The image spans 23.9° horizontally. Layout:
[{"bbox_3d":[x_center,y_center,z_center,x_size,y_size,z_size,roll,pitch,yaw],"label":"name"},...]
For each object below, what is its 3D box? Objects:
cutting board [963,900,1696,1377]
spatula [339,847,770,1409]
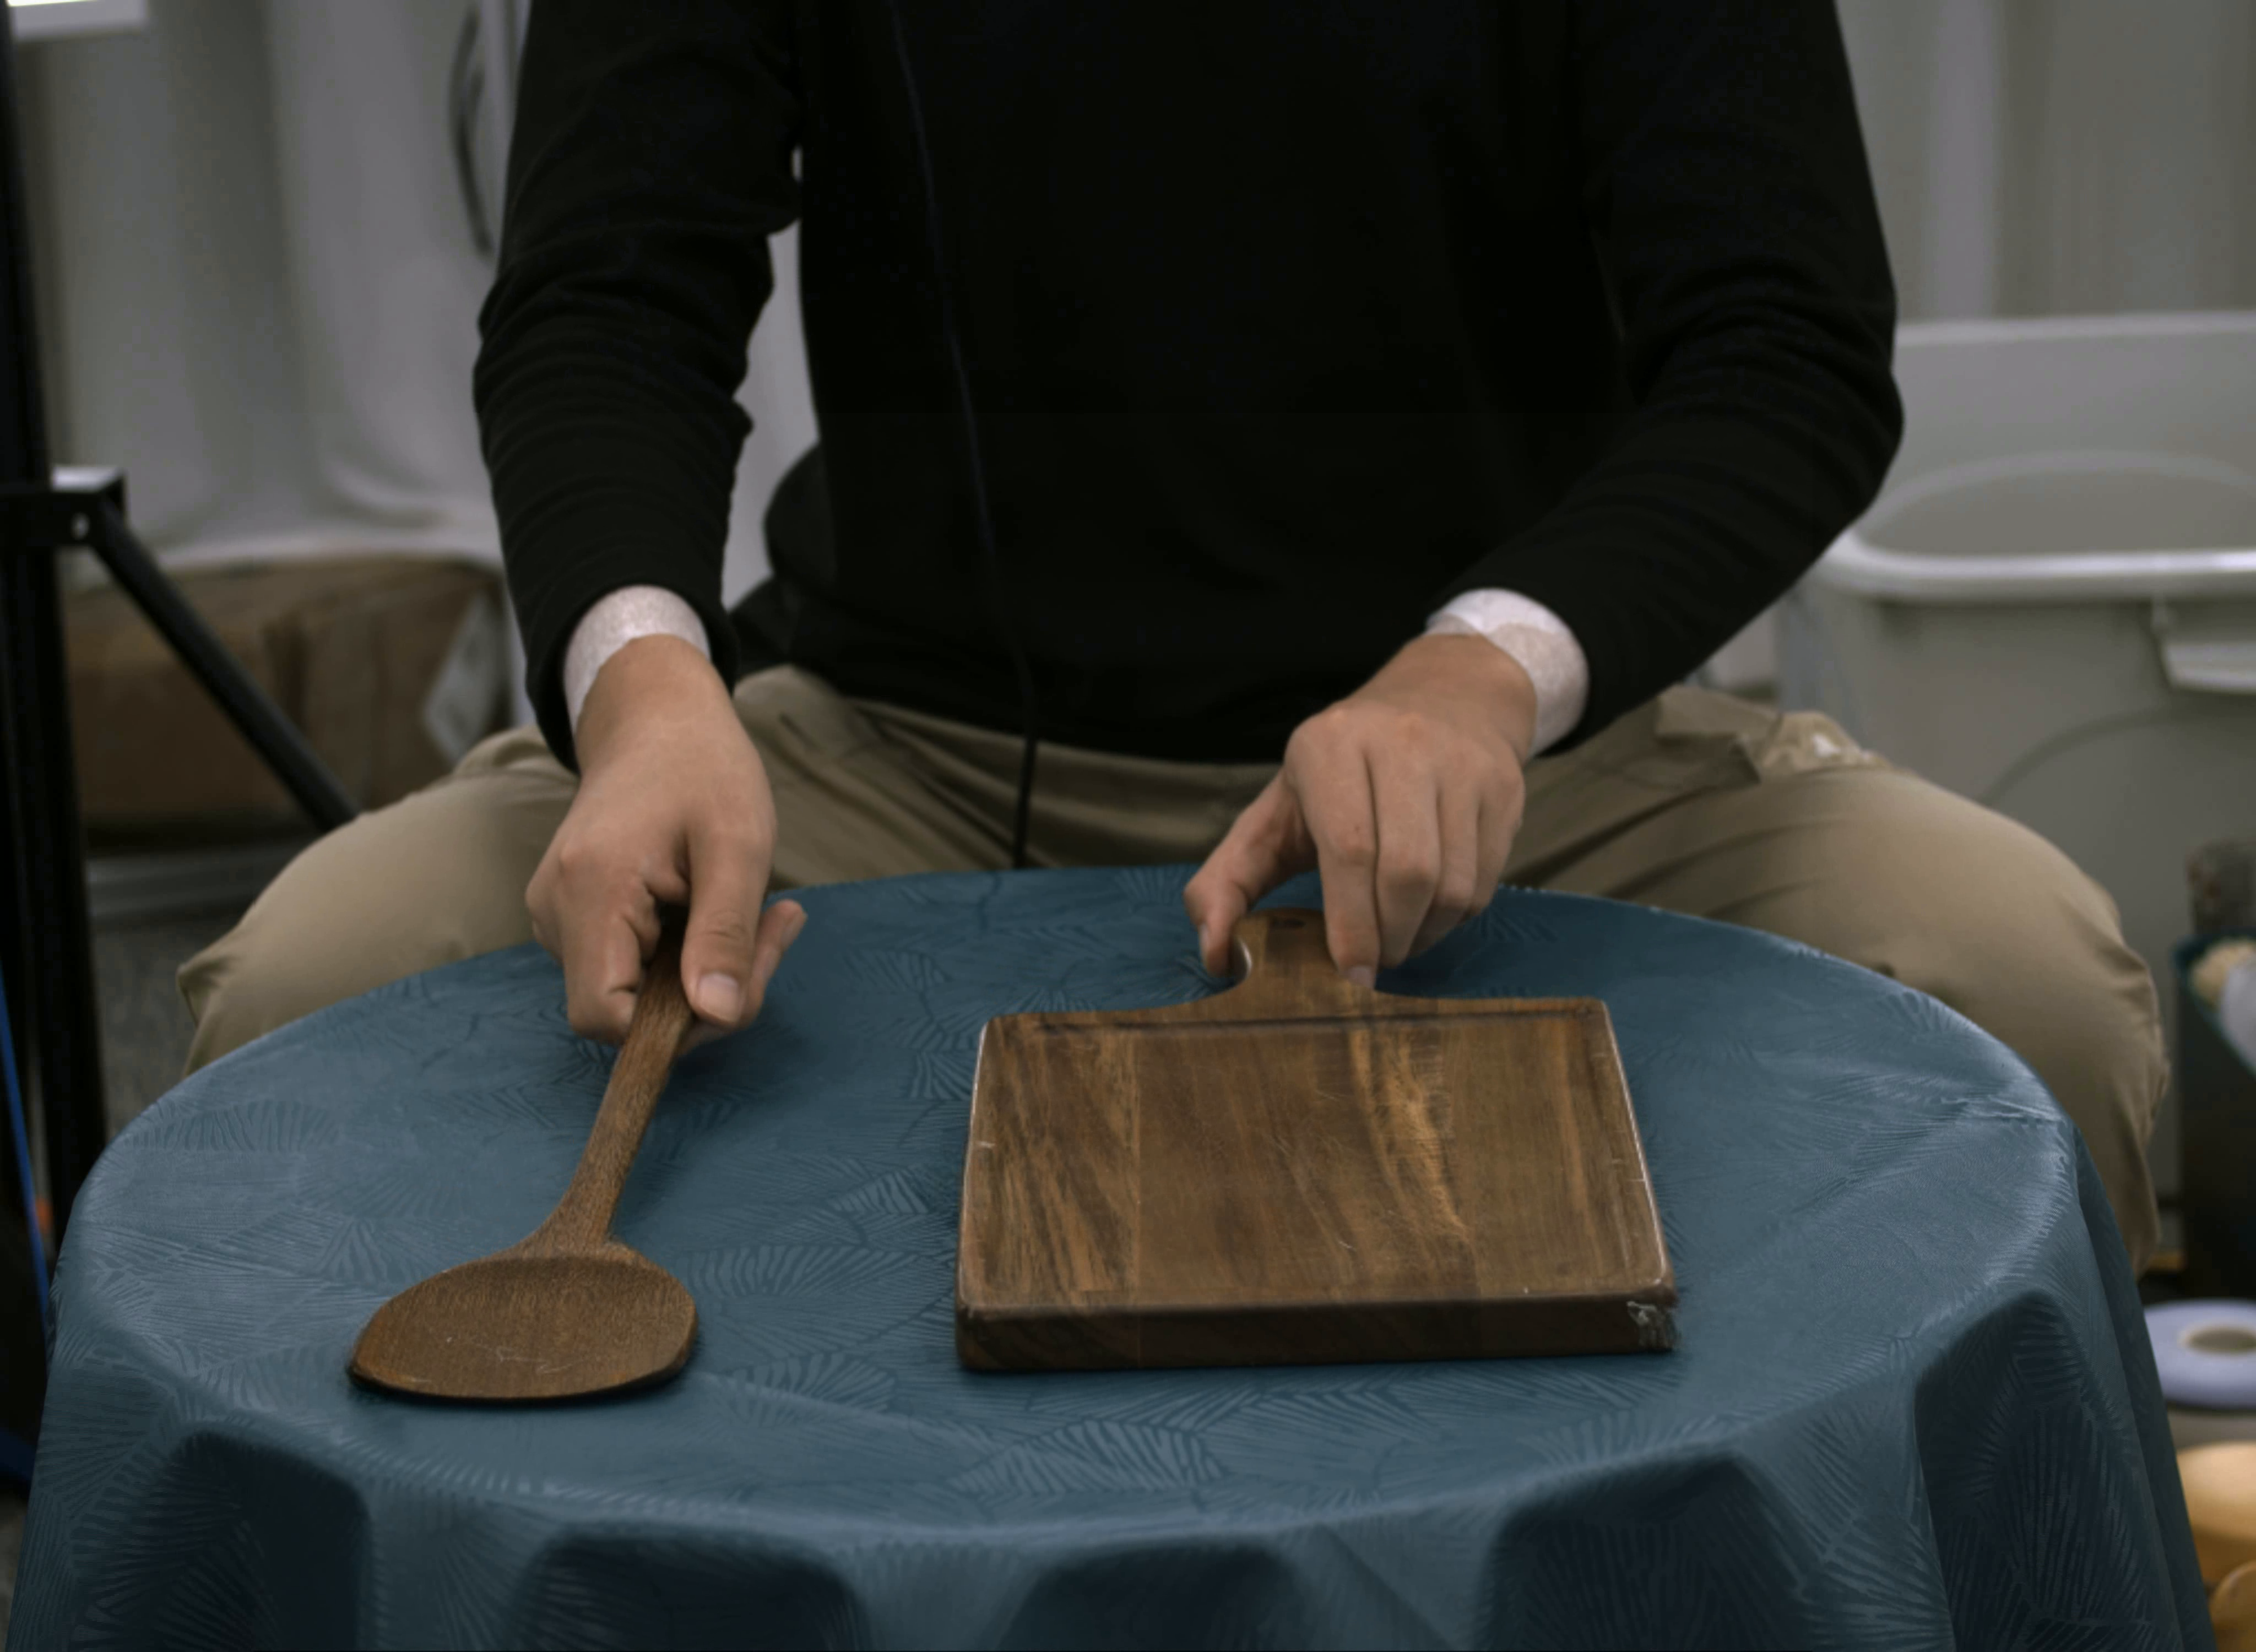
[{"bbox_3d":[0.052,0.085,1.580,0.200,0.023,0.353,-2,17,1],"label":"cutting board"},{"bbox_3d":[-0.149,0.081,1.594,0.096,0.016,0.386,-1,23,7],"label":"spatula"}]
